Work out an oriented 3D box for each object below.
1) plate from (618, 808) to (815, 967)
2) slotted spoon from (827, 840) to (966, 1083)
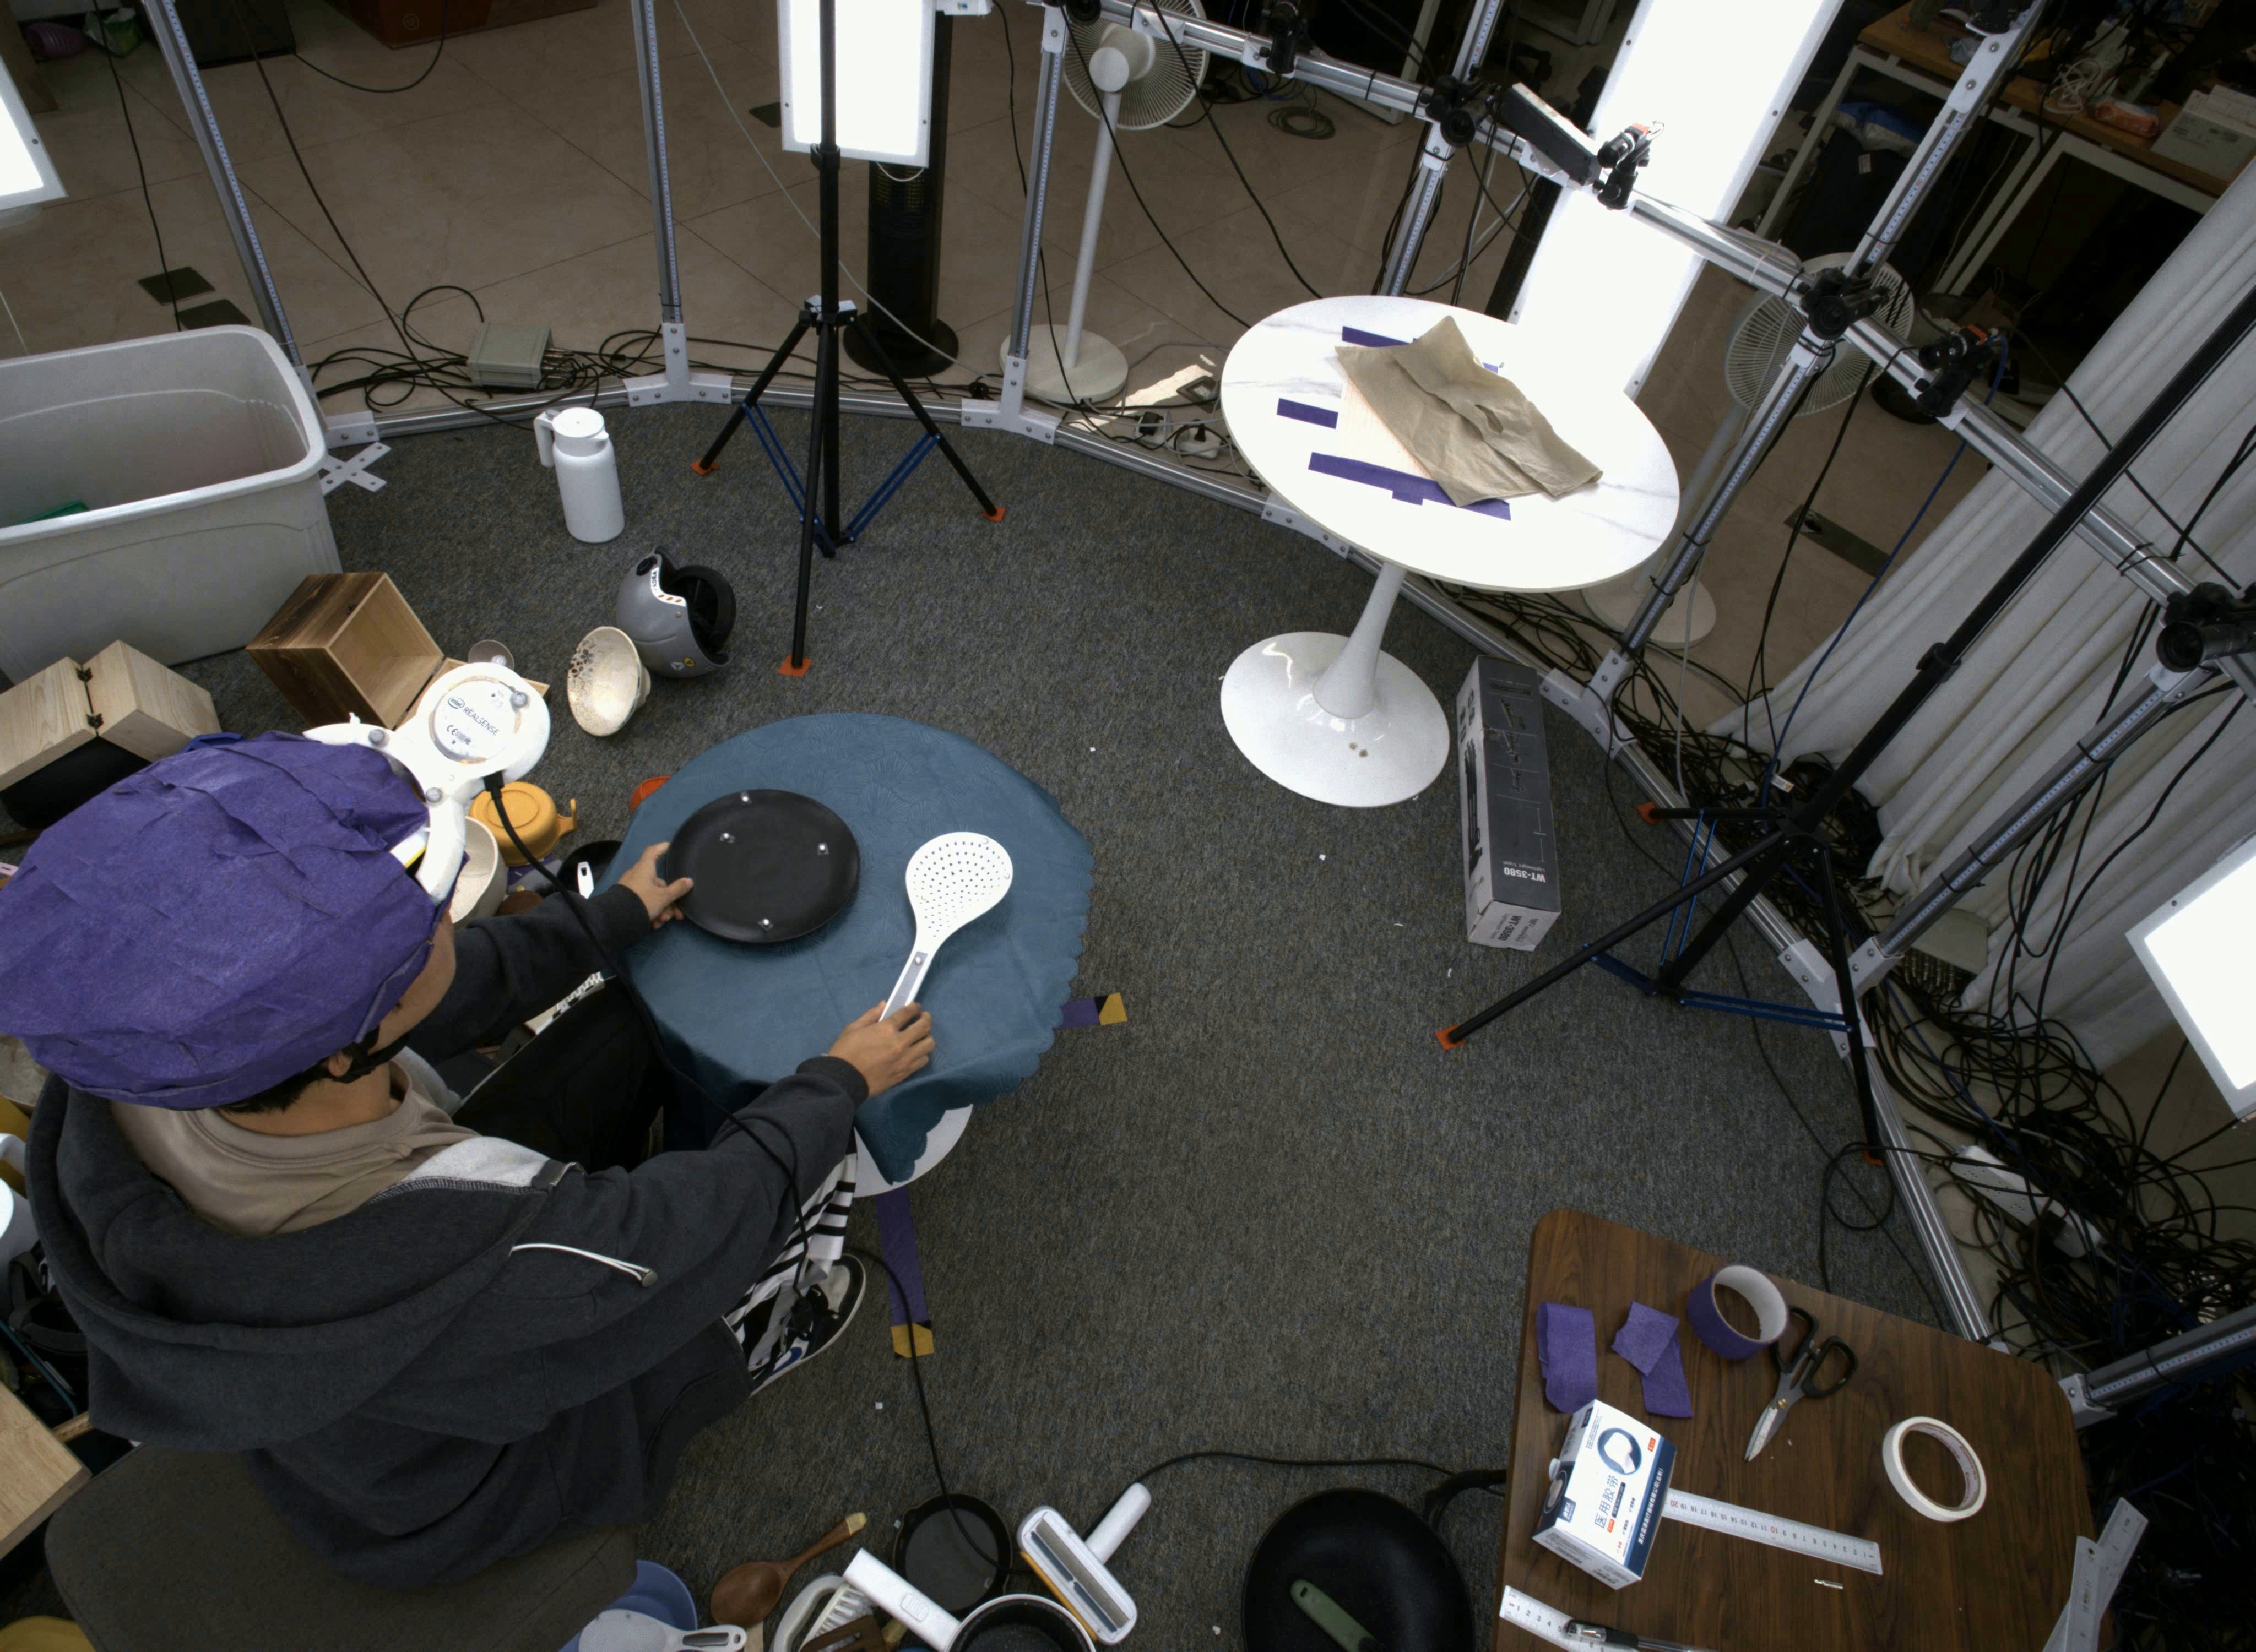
[{"bbox_3d":[-0.519,0.076,1.630,0.244,0.024,0.240,9,52,-9],"label":"plate"},{"bbox_3d":[-0.297,0.158,1.604,0.133,0.047,0.345,9,48,9],"label":"slotted spoon"}]
